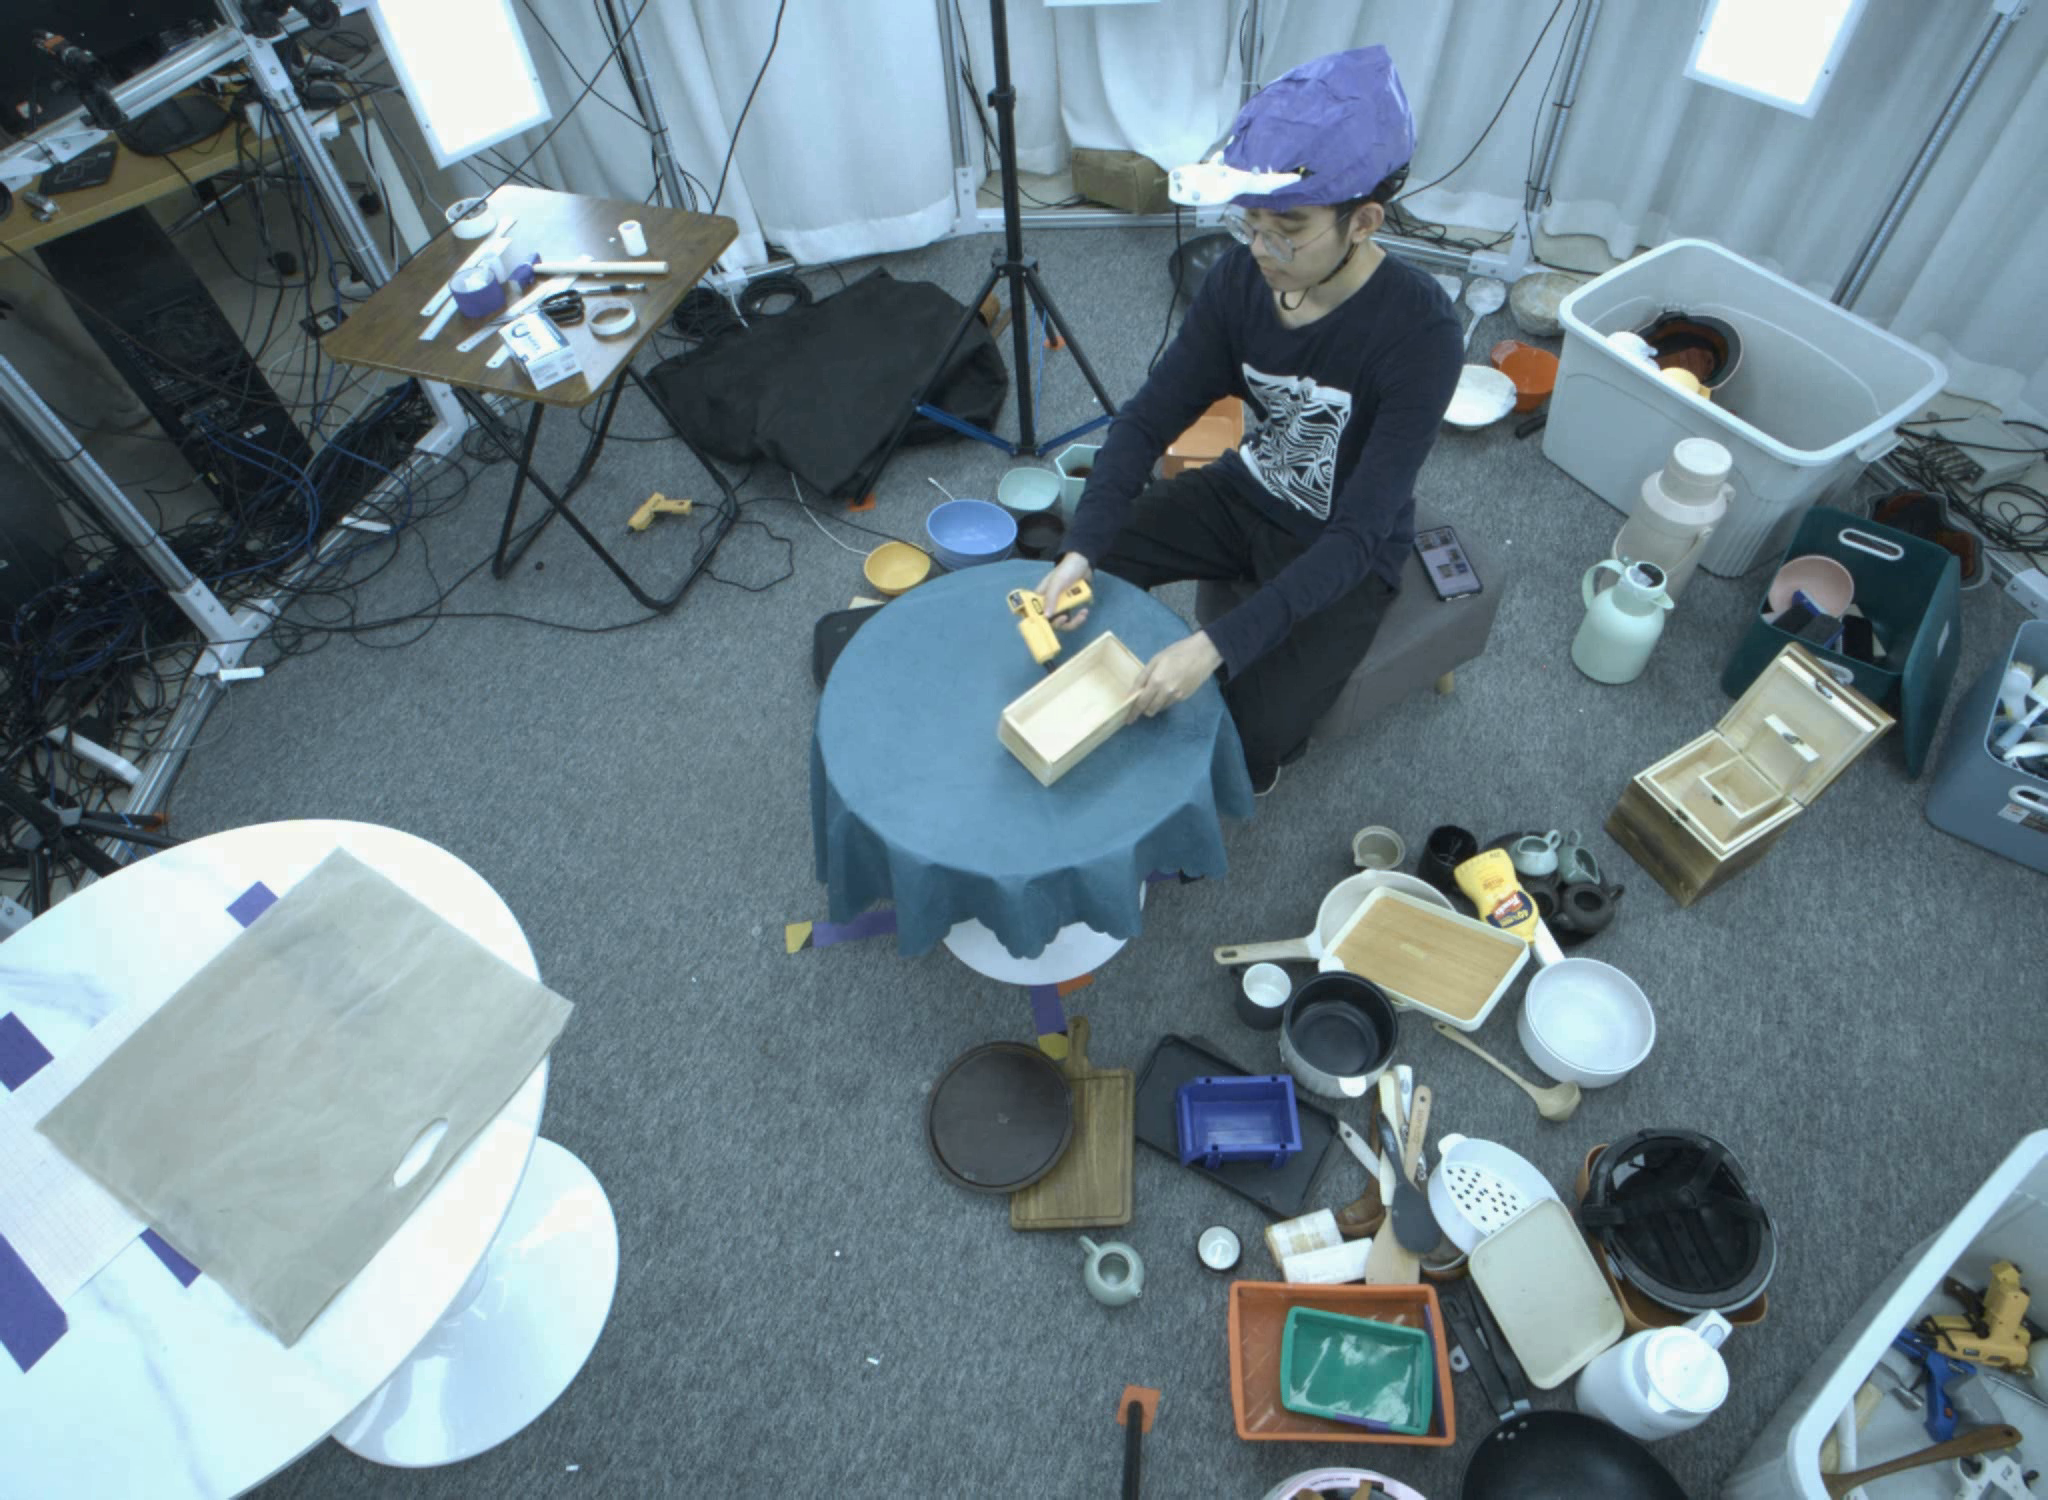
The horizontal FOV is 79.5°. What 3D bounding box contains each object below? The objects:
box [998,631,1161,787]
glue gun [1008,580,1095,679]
[{"bbox_3d":[0.078,-0.060,1.761,0.213,0.080,0.106,-38,76,-21],"label":"box"},{"bbox_3d":[0.058,-0.176,1.813,0.135,0.031,0.150,-12,72,-23],"label":"glue gun"}]
